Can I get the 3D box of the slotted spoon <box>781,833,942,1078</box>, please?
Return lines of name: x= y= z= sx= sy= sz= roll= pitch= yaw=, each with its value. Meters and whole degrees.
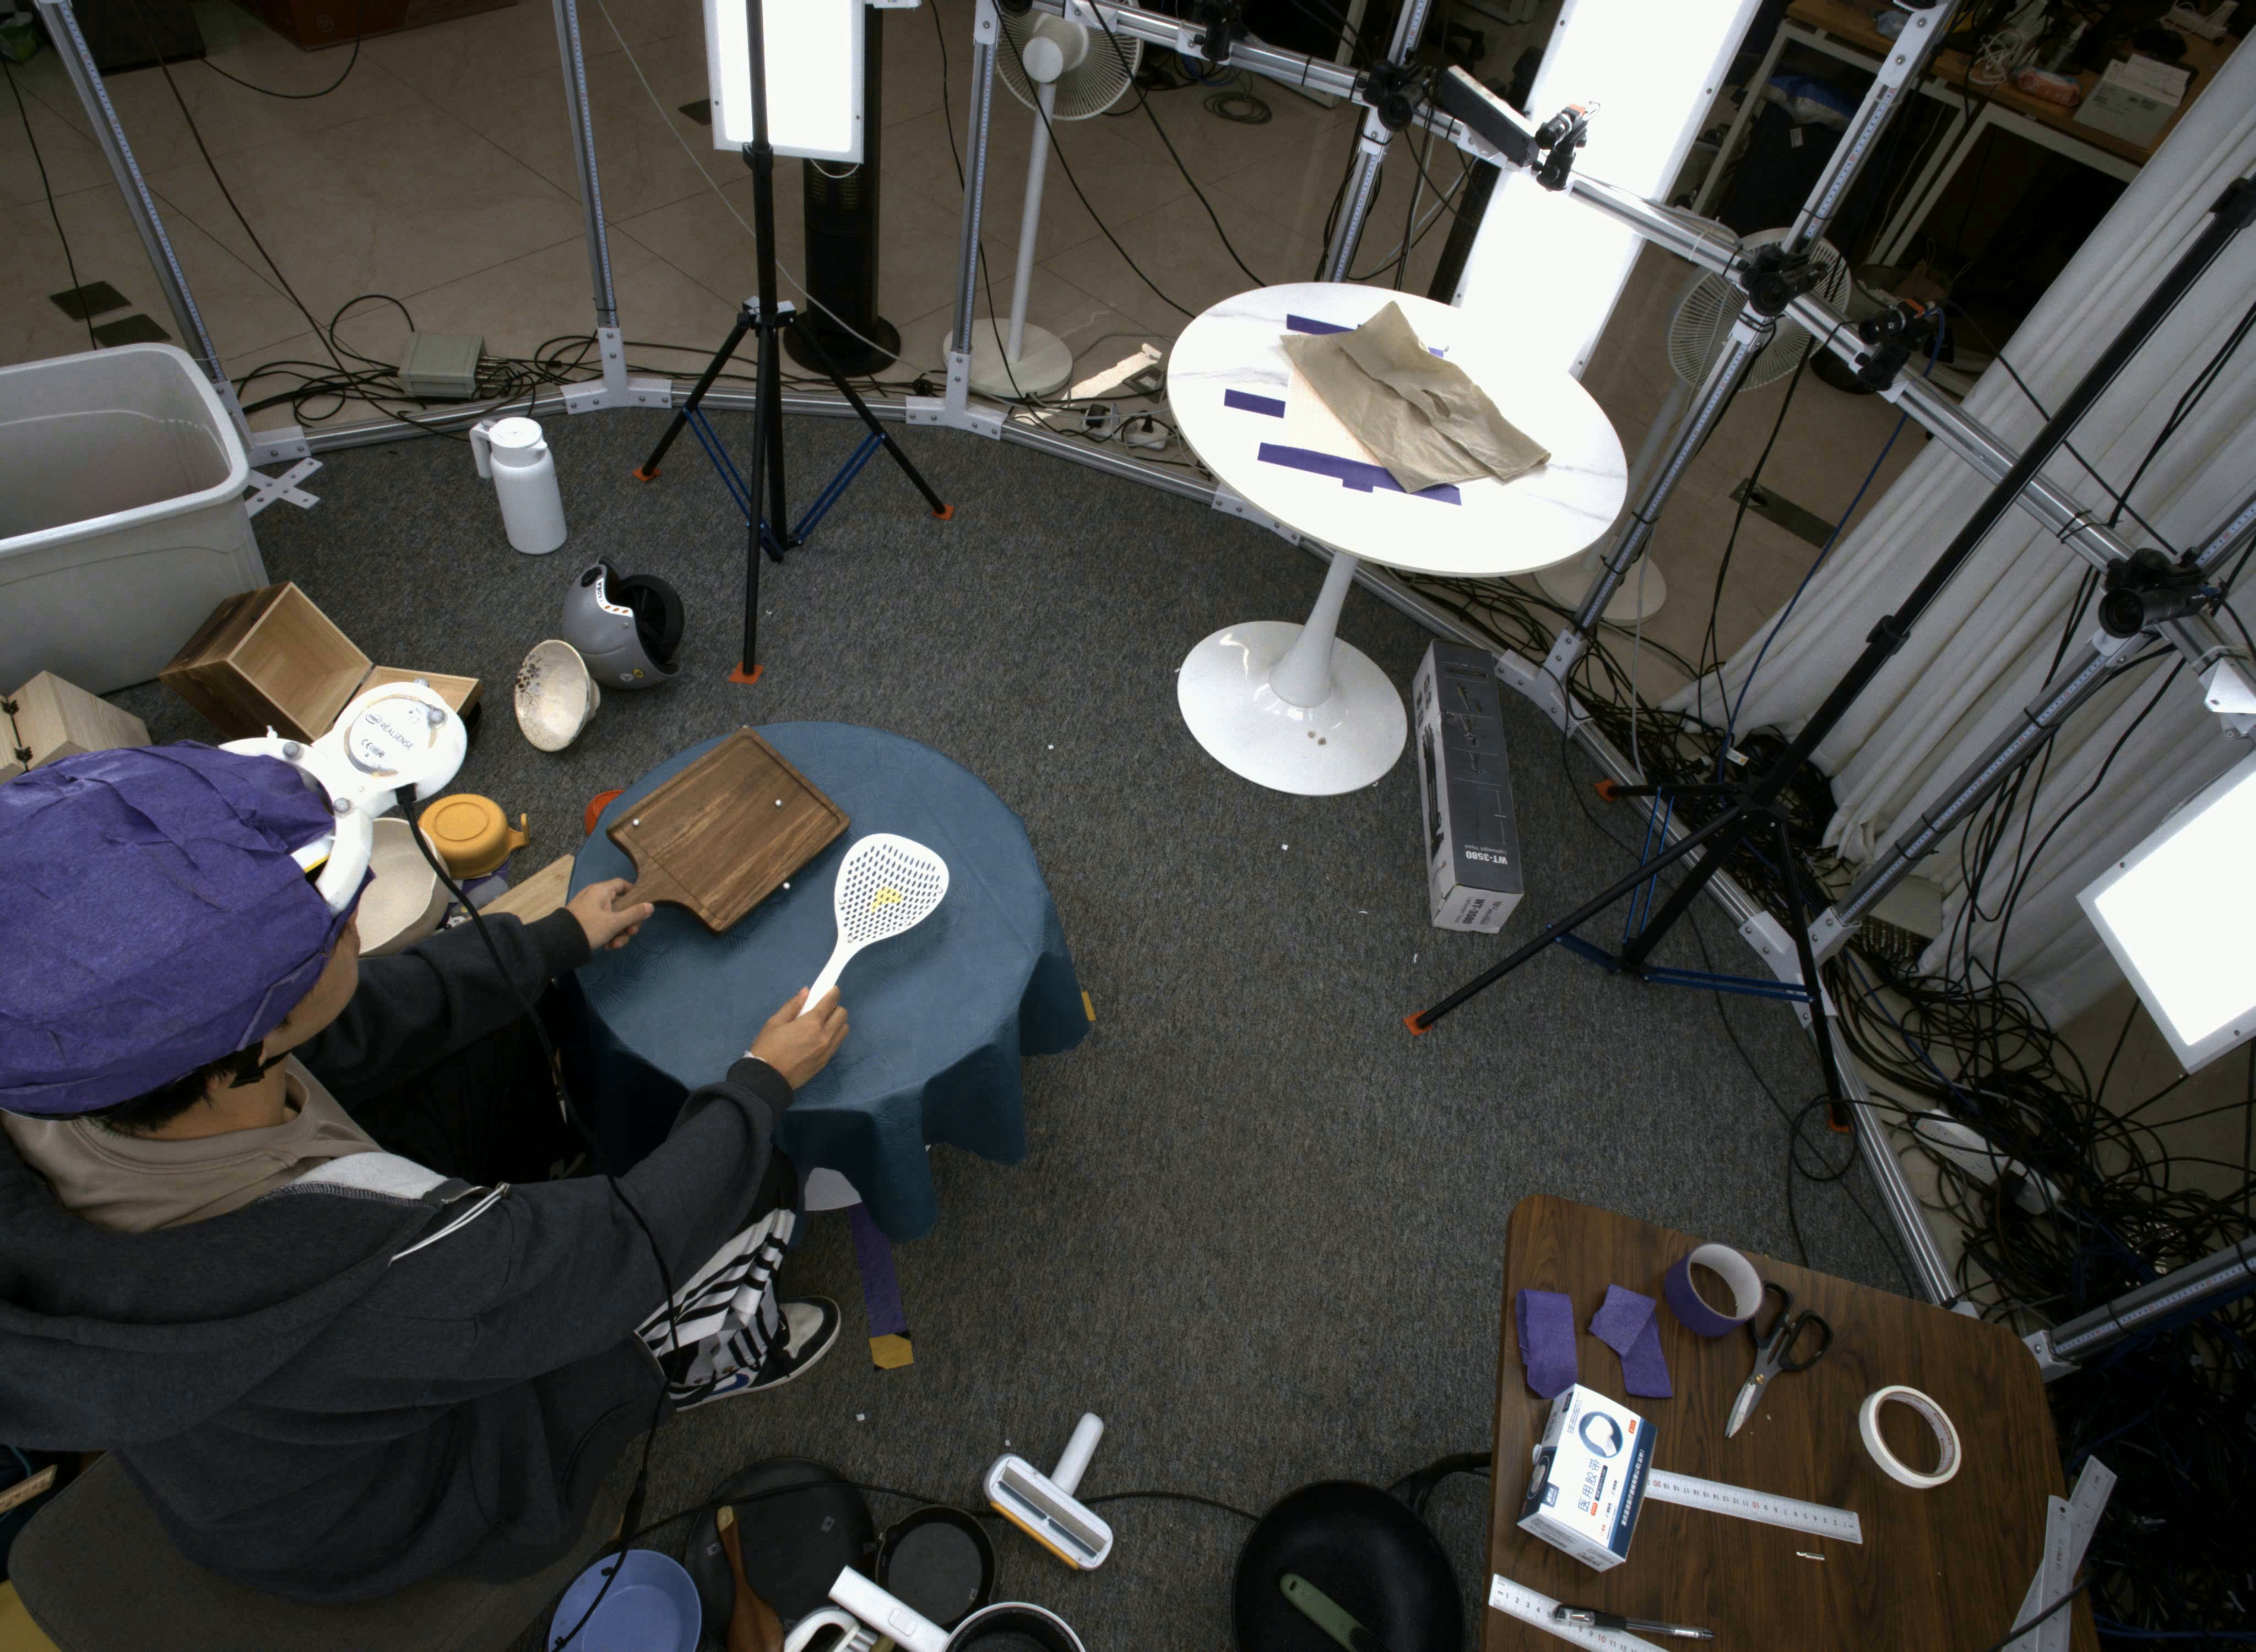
slotted spoon: x=-0.341 y=0.148 z=1.573 sx=0.136 sy=0.051 sz=0.344 roll=24 pitch=47 yaw=0

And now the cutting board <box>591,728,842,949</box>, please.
cutting board: x=-0.538 y=0.031 z=1.606 sx=0.201 sy=0.023 sz=0.351 roll=42 pitch=49 yaw=-1
